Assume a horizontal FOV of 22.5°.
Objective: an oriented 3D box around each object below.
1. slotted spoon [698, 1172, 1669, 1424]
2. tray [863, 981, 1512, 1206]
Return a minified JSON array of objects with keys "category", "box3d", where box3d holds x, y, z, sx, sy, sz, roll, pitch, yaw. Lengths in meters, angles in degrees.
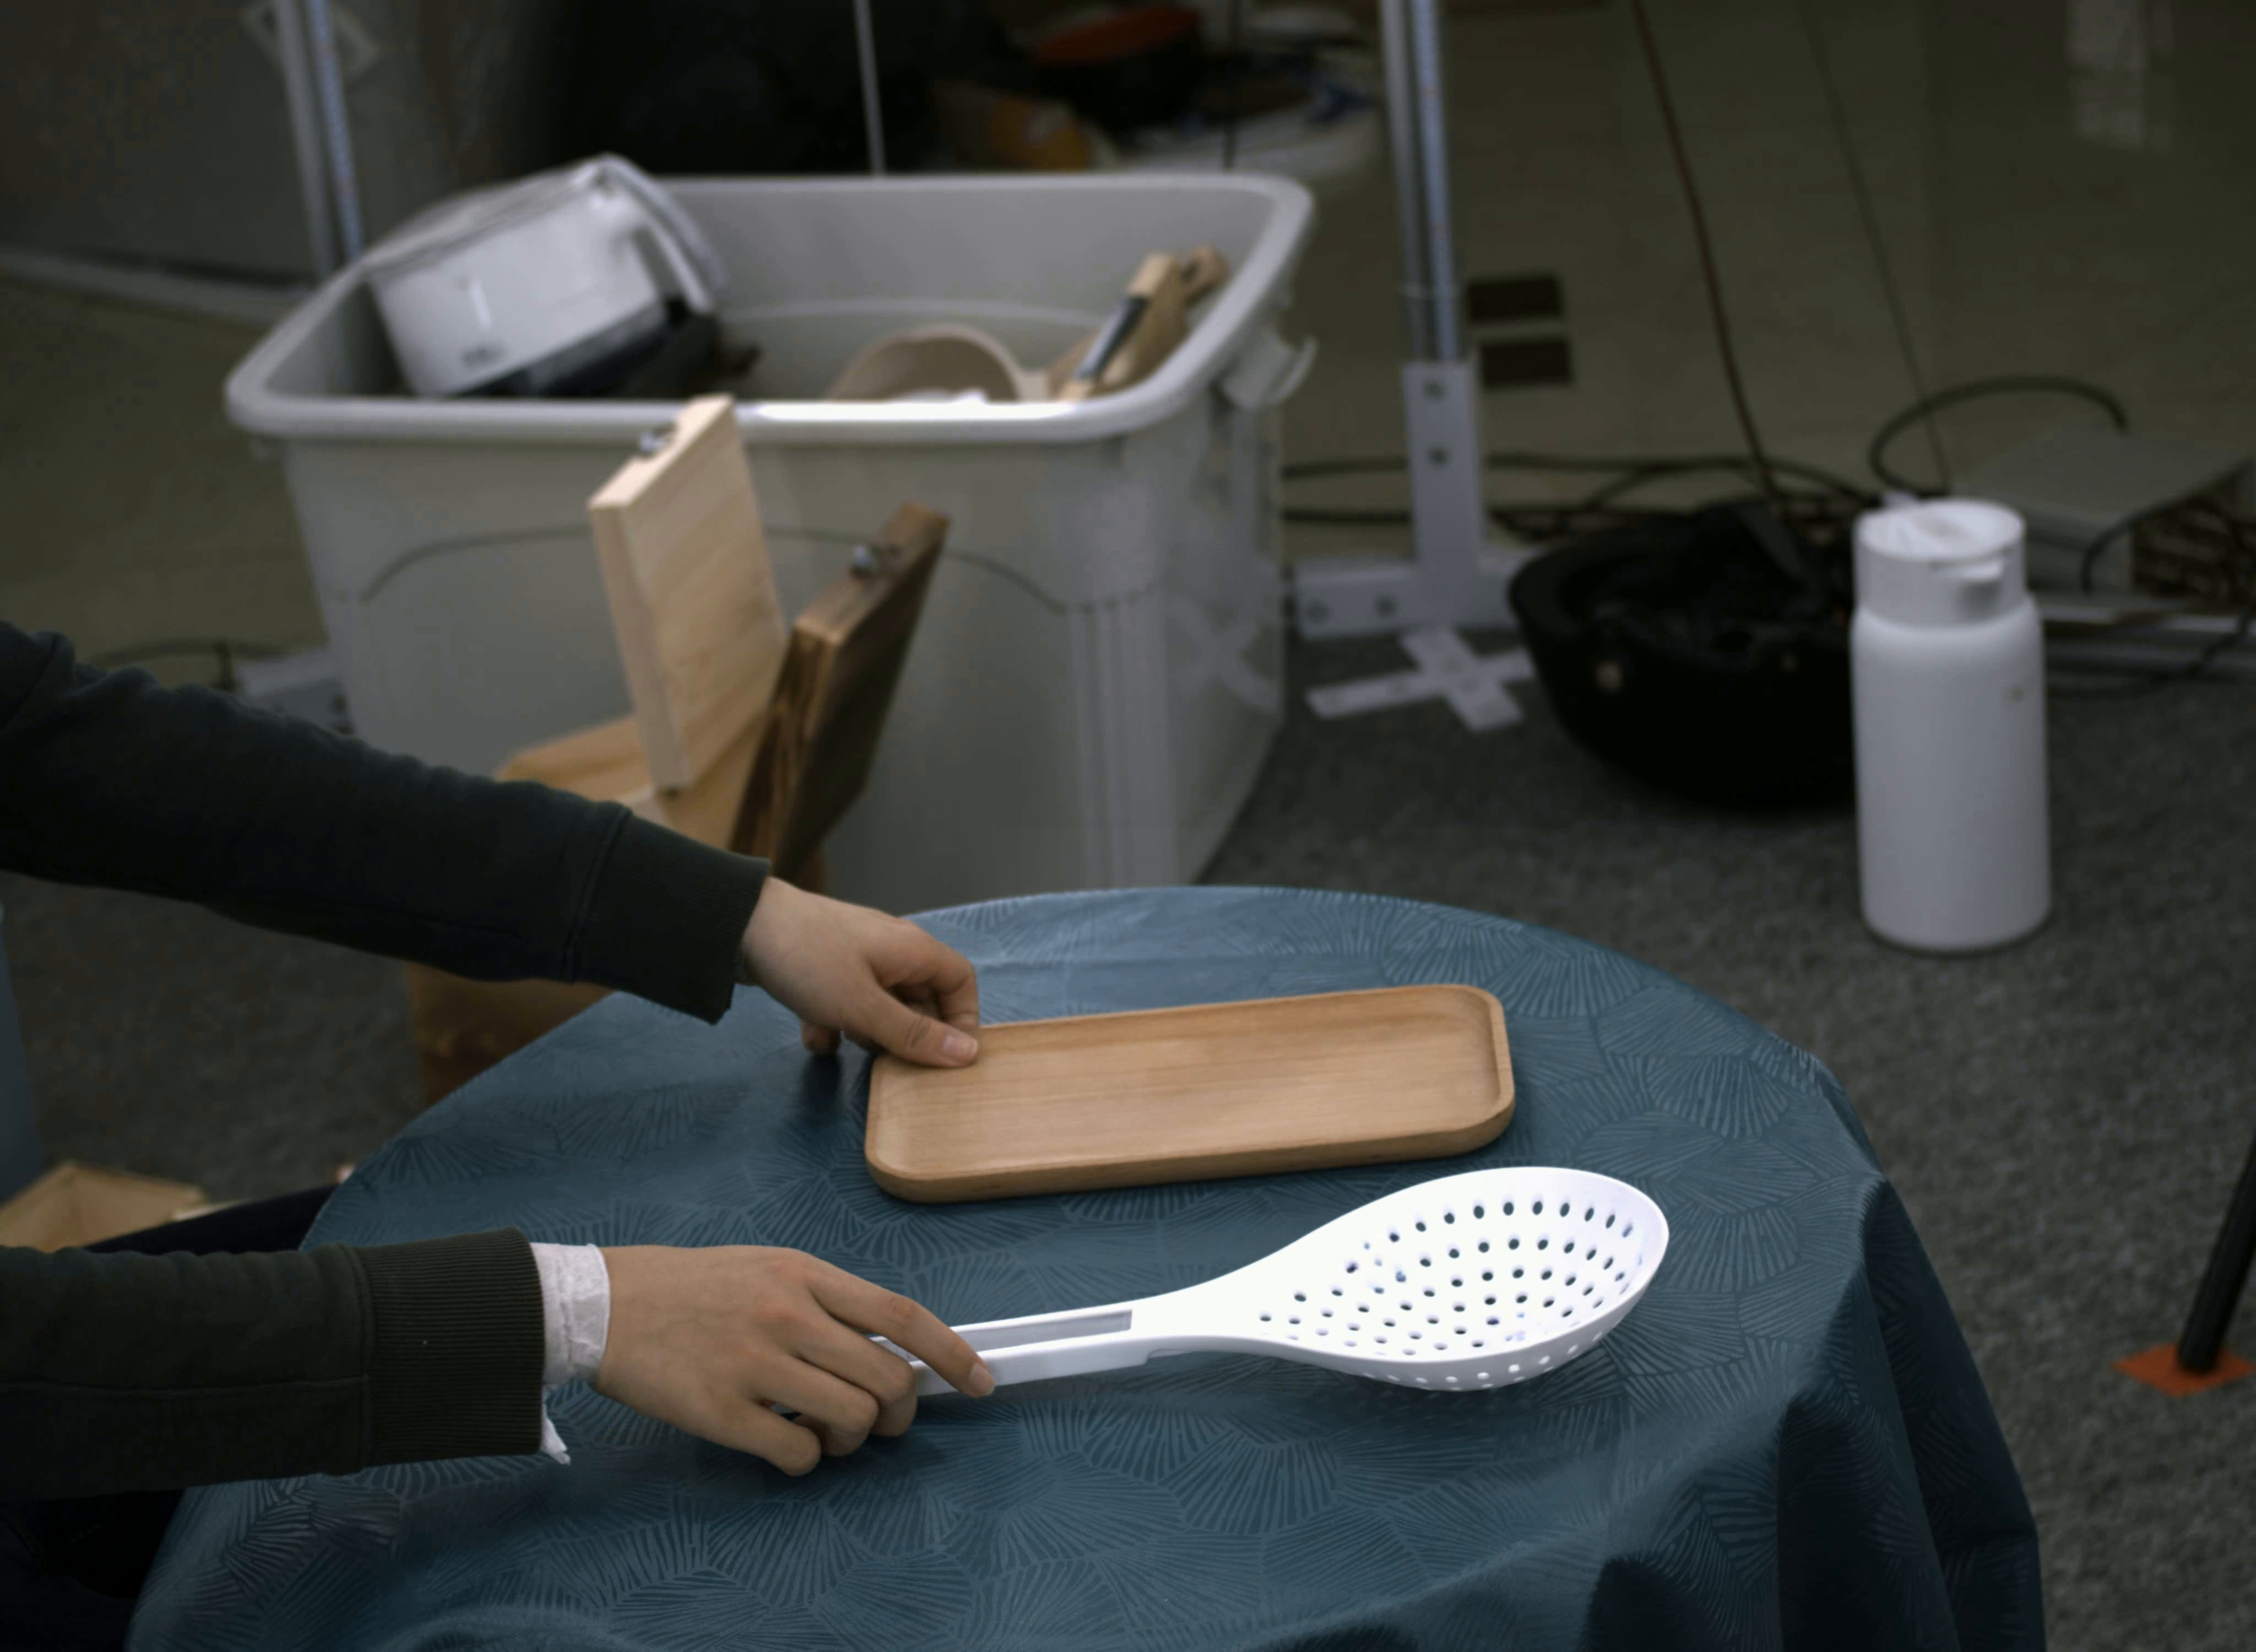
[{"category":"slotted spoon","box3d":[0.018,0.177,2.012,0.349,0.046,0.134,-5,23,6]},{"category":"tray","box3d":[0.023,0.104,2.202,0.250,0.023,0.129,-6,23,3]}]
